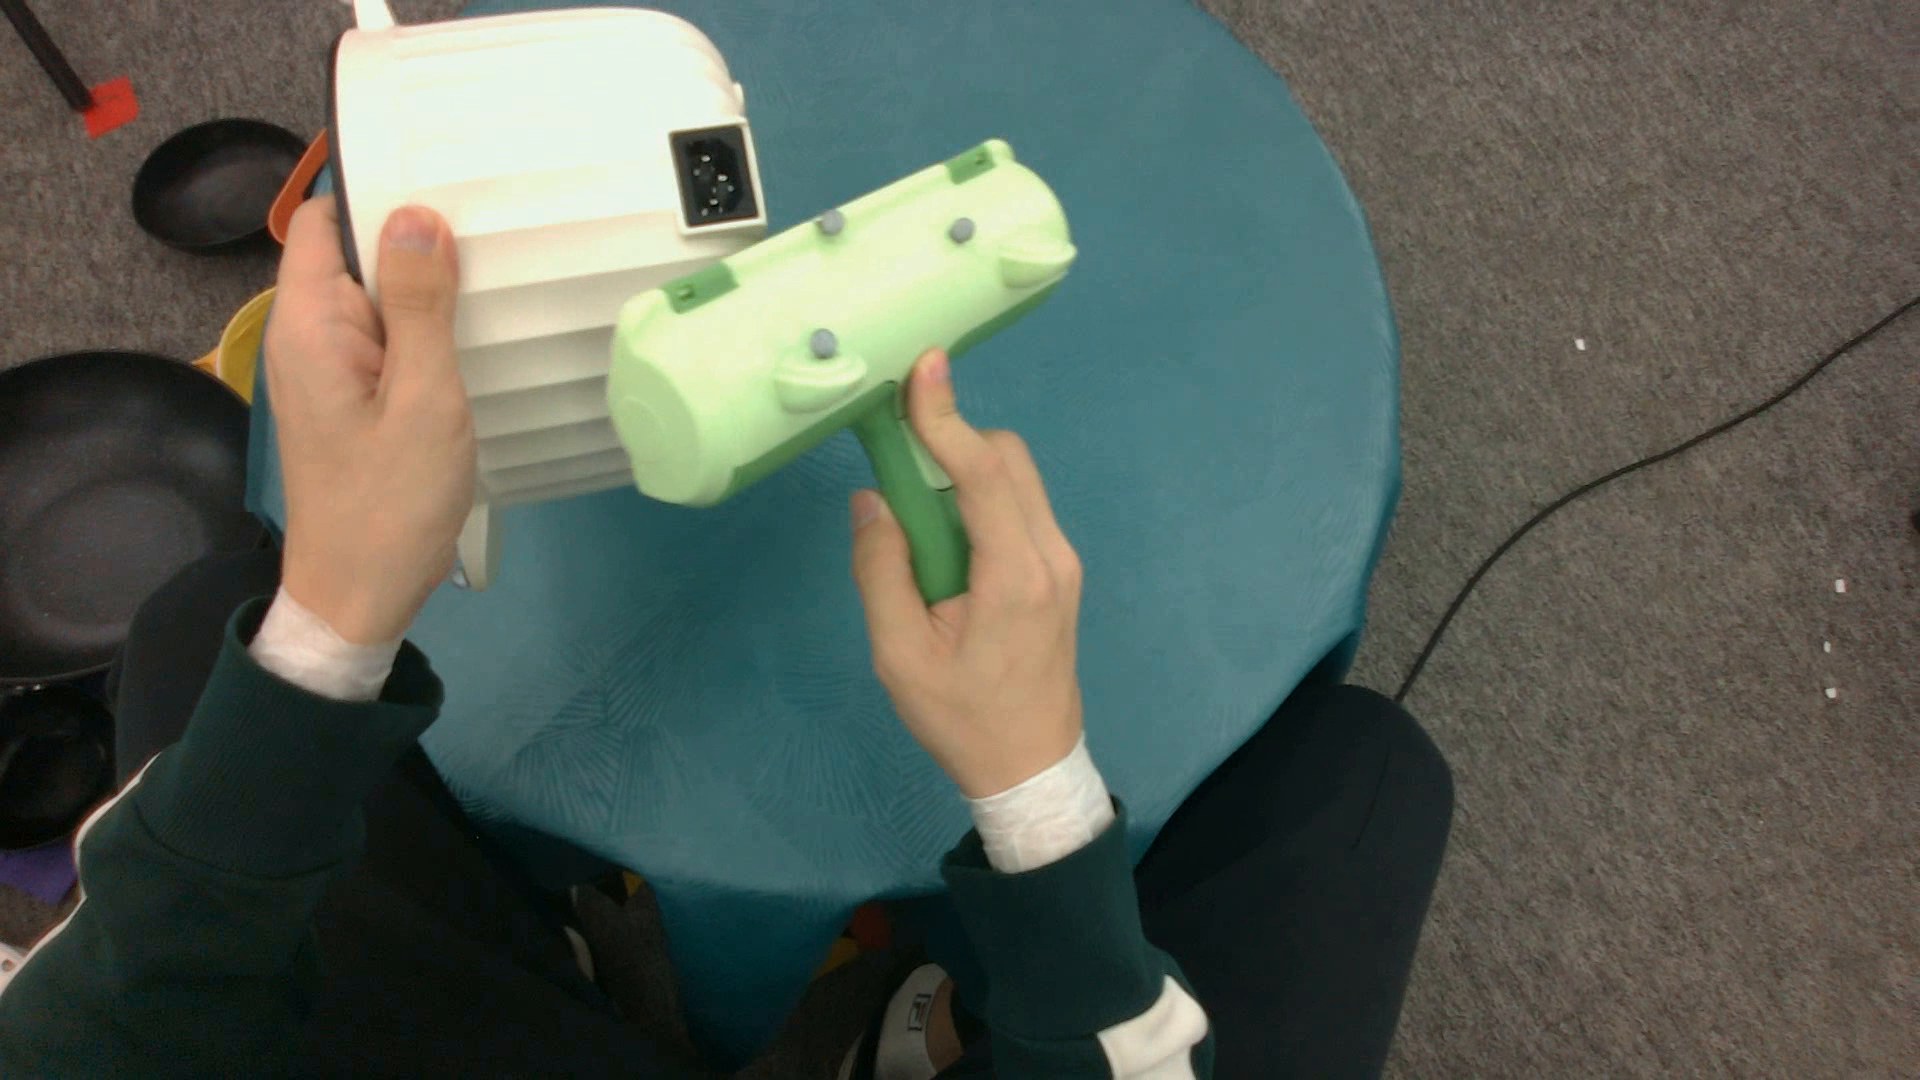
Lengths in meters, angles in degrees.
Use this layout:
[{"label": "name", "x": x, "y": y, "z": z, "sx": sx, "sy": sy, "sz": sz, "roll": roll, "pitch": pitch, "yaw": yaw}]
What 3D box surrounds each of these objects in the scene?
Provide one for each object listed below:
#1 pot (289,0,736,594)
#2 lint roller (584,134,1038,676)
[{"label": "pot", "x": -0.159, "y": -0.108, "z": 0.541, "sx": 0.143, "sy": 0.190, "sz": 0.240, "roll": -11, "pitch": 89, "yaw": -13}, {"label": "lint roller", "x": -0.014, "y": -0.035, "z": 0.484, "sx": 0.199, "sy": 0.082, "sz": 0.183, "roll": -40, "pitch": 107, "yaw": -44}]
